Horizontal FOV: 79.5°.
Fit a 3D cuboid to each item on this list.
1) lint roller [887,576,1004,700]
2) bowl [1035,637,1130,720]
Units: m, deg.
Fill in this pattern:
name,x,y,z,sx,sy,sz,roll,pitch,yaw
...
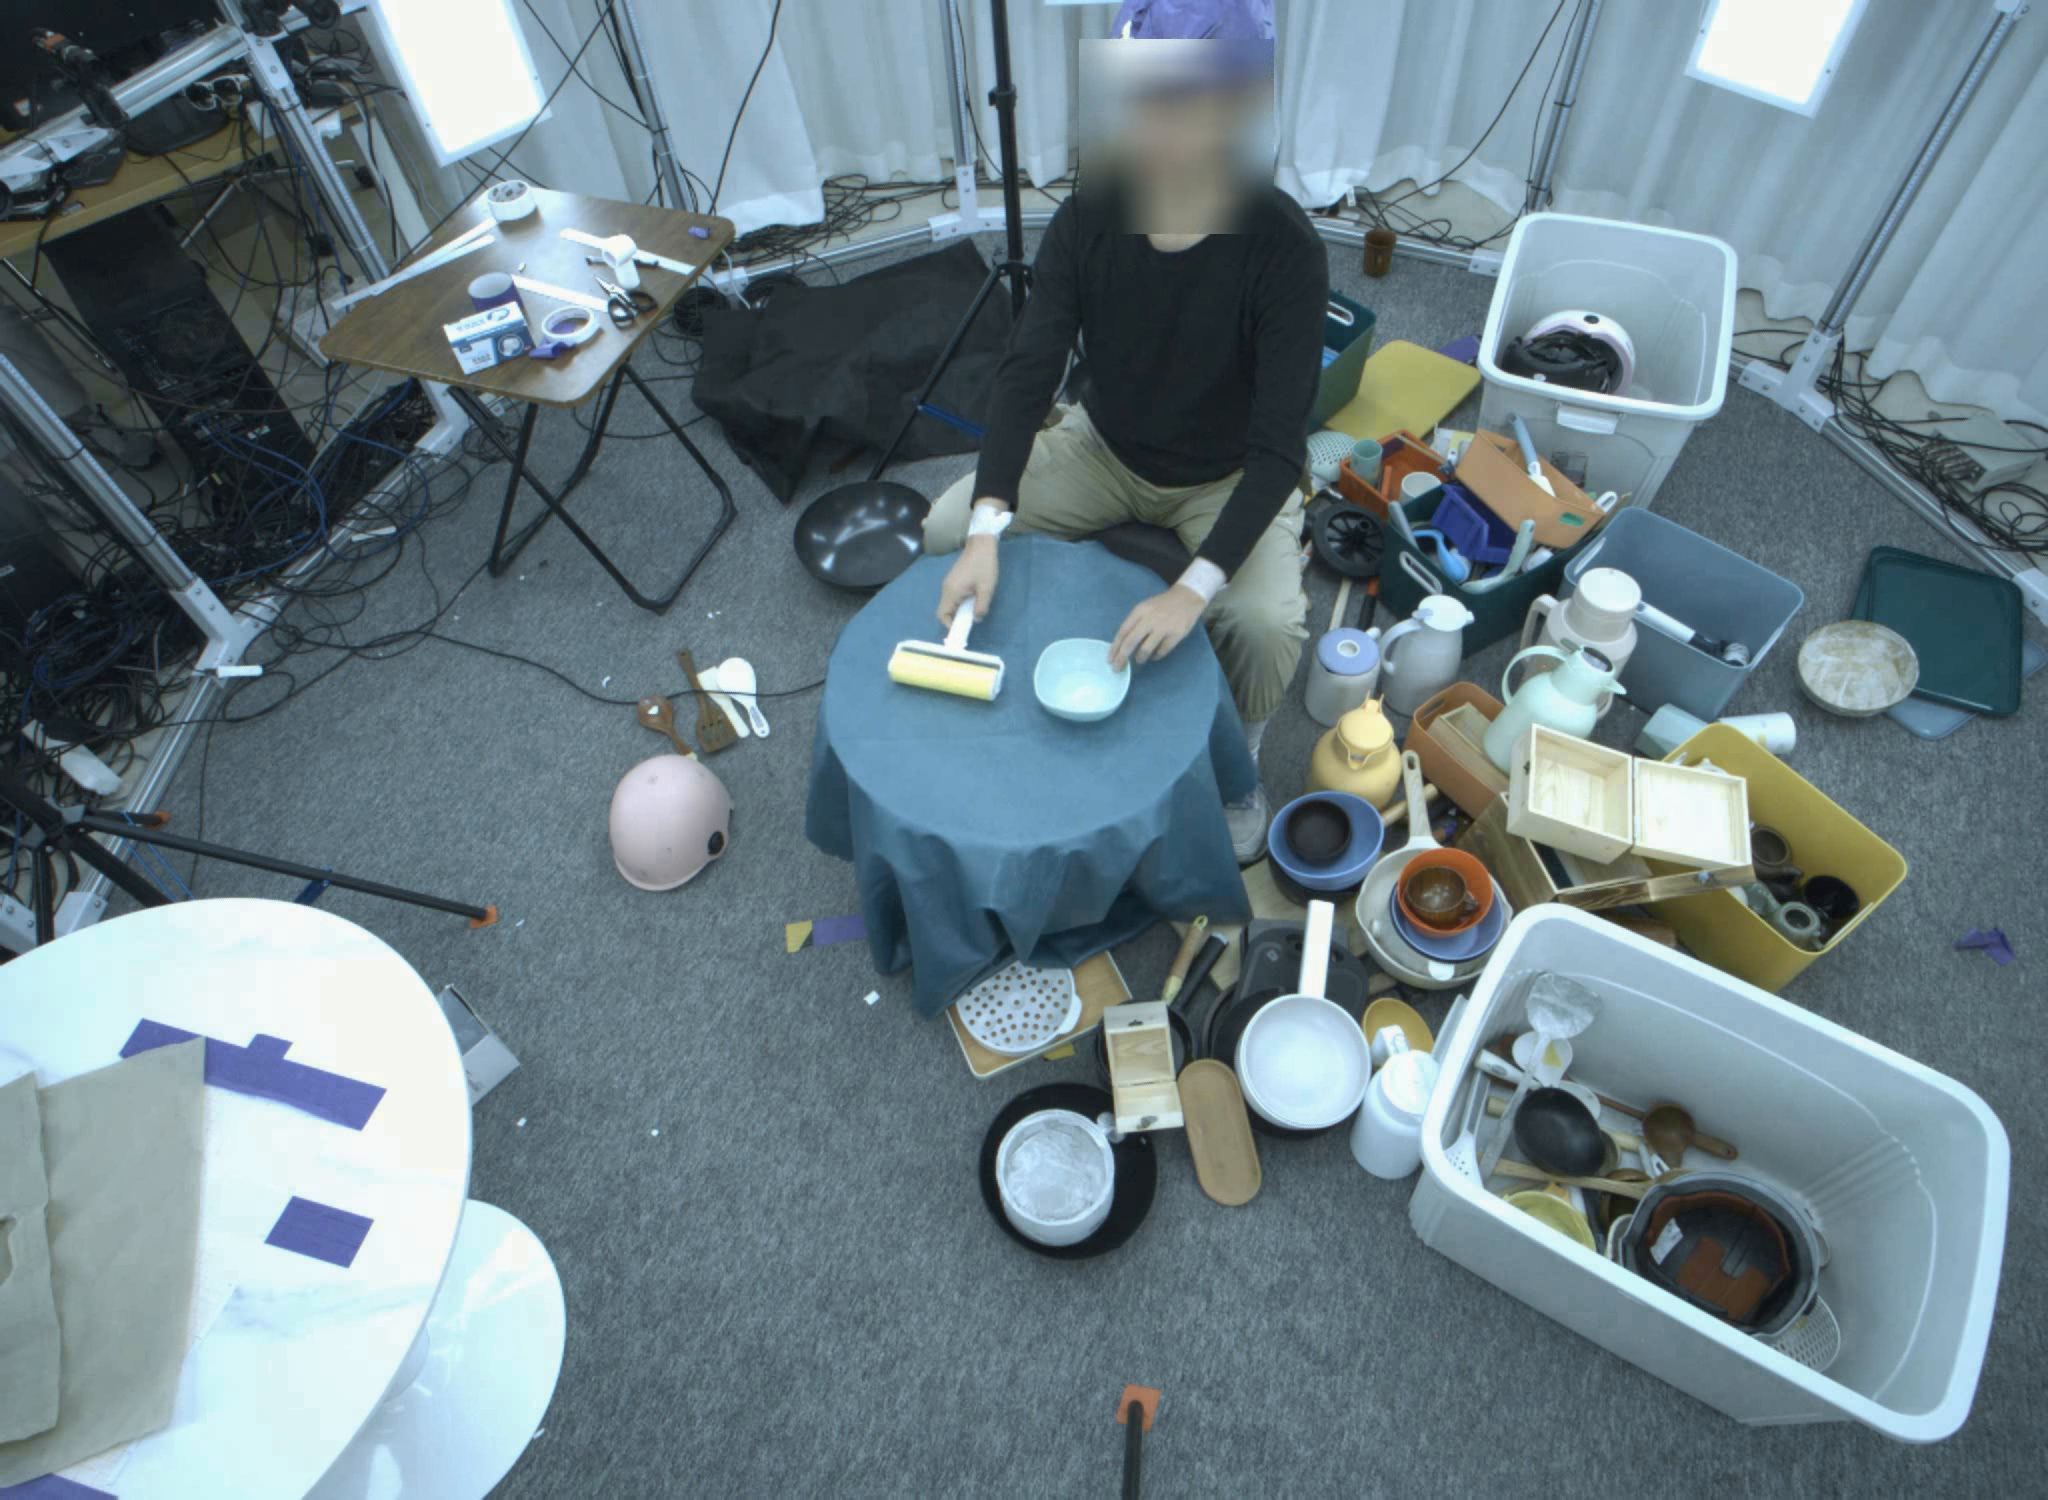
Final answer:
name,x,y,z,sx,sy,sz,roll,pitch,yaw
lint roller,-0.105,-0.179,1.856,0.173,0.052,0.191,11,81,12
bowl,0.087,-0.095,1.817,0.151,0.059,0.150,-1,56,3
